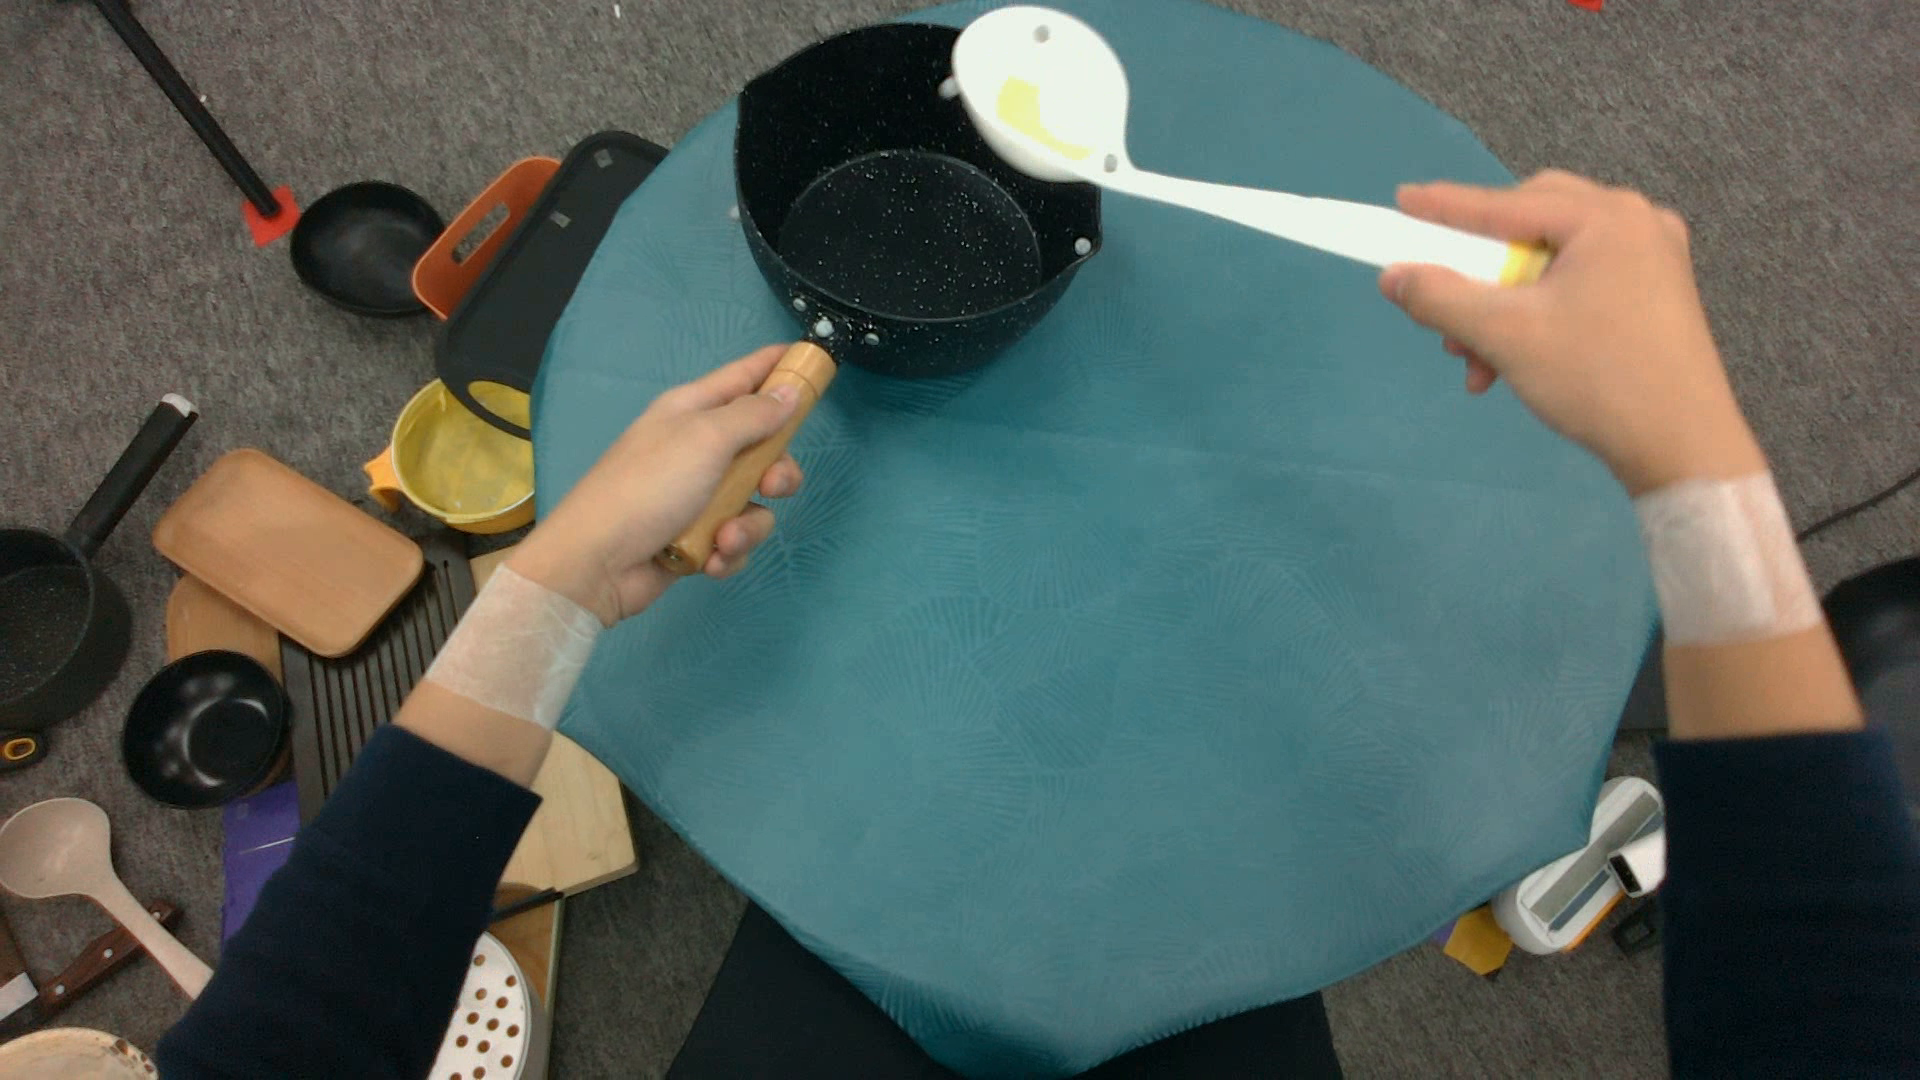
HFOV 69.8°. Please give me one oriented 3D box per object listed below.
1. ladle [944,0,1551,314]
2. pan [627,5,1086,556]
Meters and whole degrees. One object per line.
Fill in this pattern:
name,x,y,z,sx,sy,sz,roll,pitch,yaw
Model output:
ladle,0.108,-0.169,0.576,0.090,0.069,0.293,-19,36,-39
pan,-0.064,-0.118,0.684,0.207,0.108,0.344,24,65,3
